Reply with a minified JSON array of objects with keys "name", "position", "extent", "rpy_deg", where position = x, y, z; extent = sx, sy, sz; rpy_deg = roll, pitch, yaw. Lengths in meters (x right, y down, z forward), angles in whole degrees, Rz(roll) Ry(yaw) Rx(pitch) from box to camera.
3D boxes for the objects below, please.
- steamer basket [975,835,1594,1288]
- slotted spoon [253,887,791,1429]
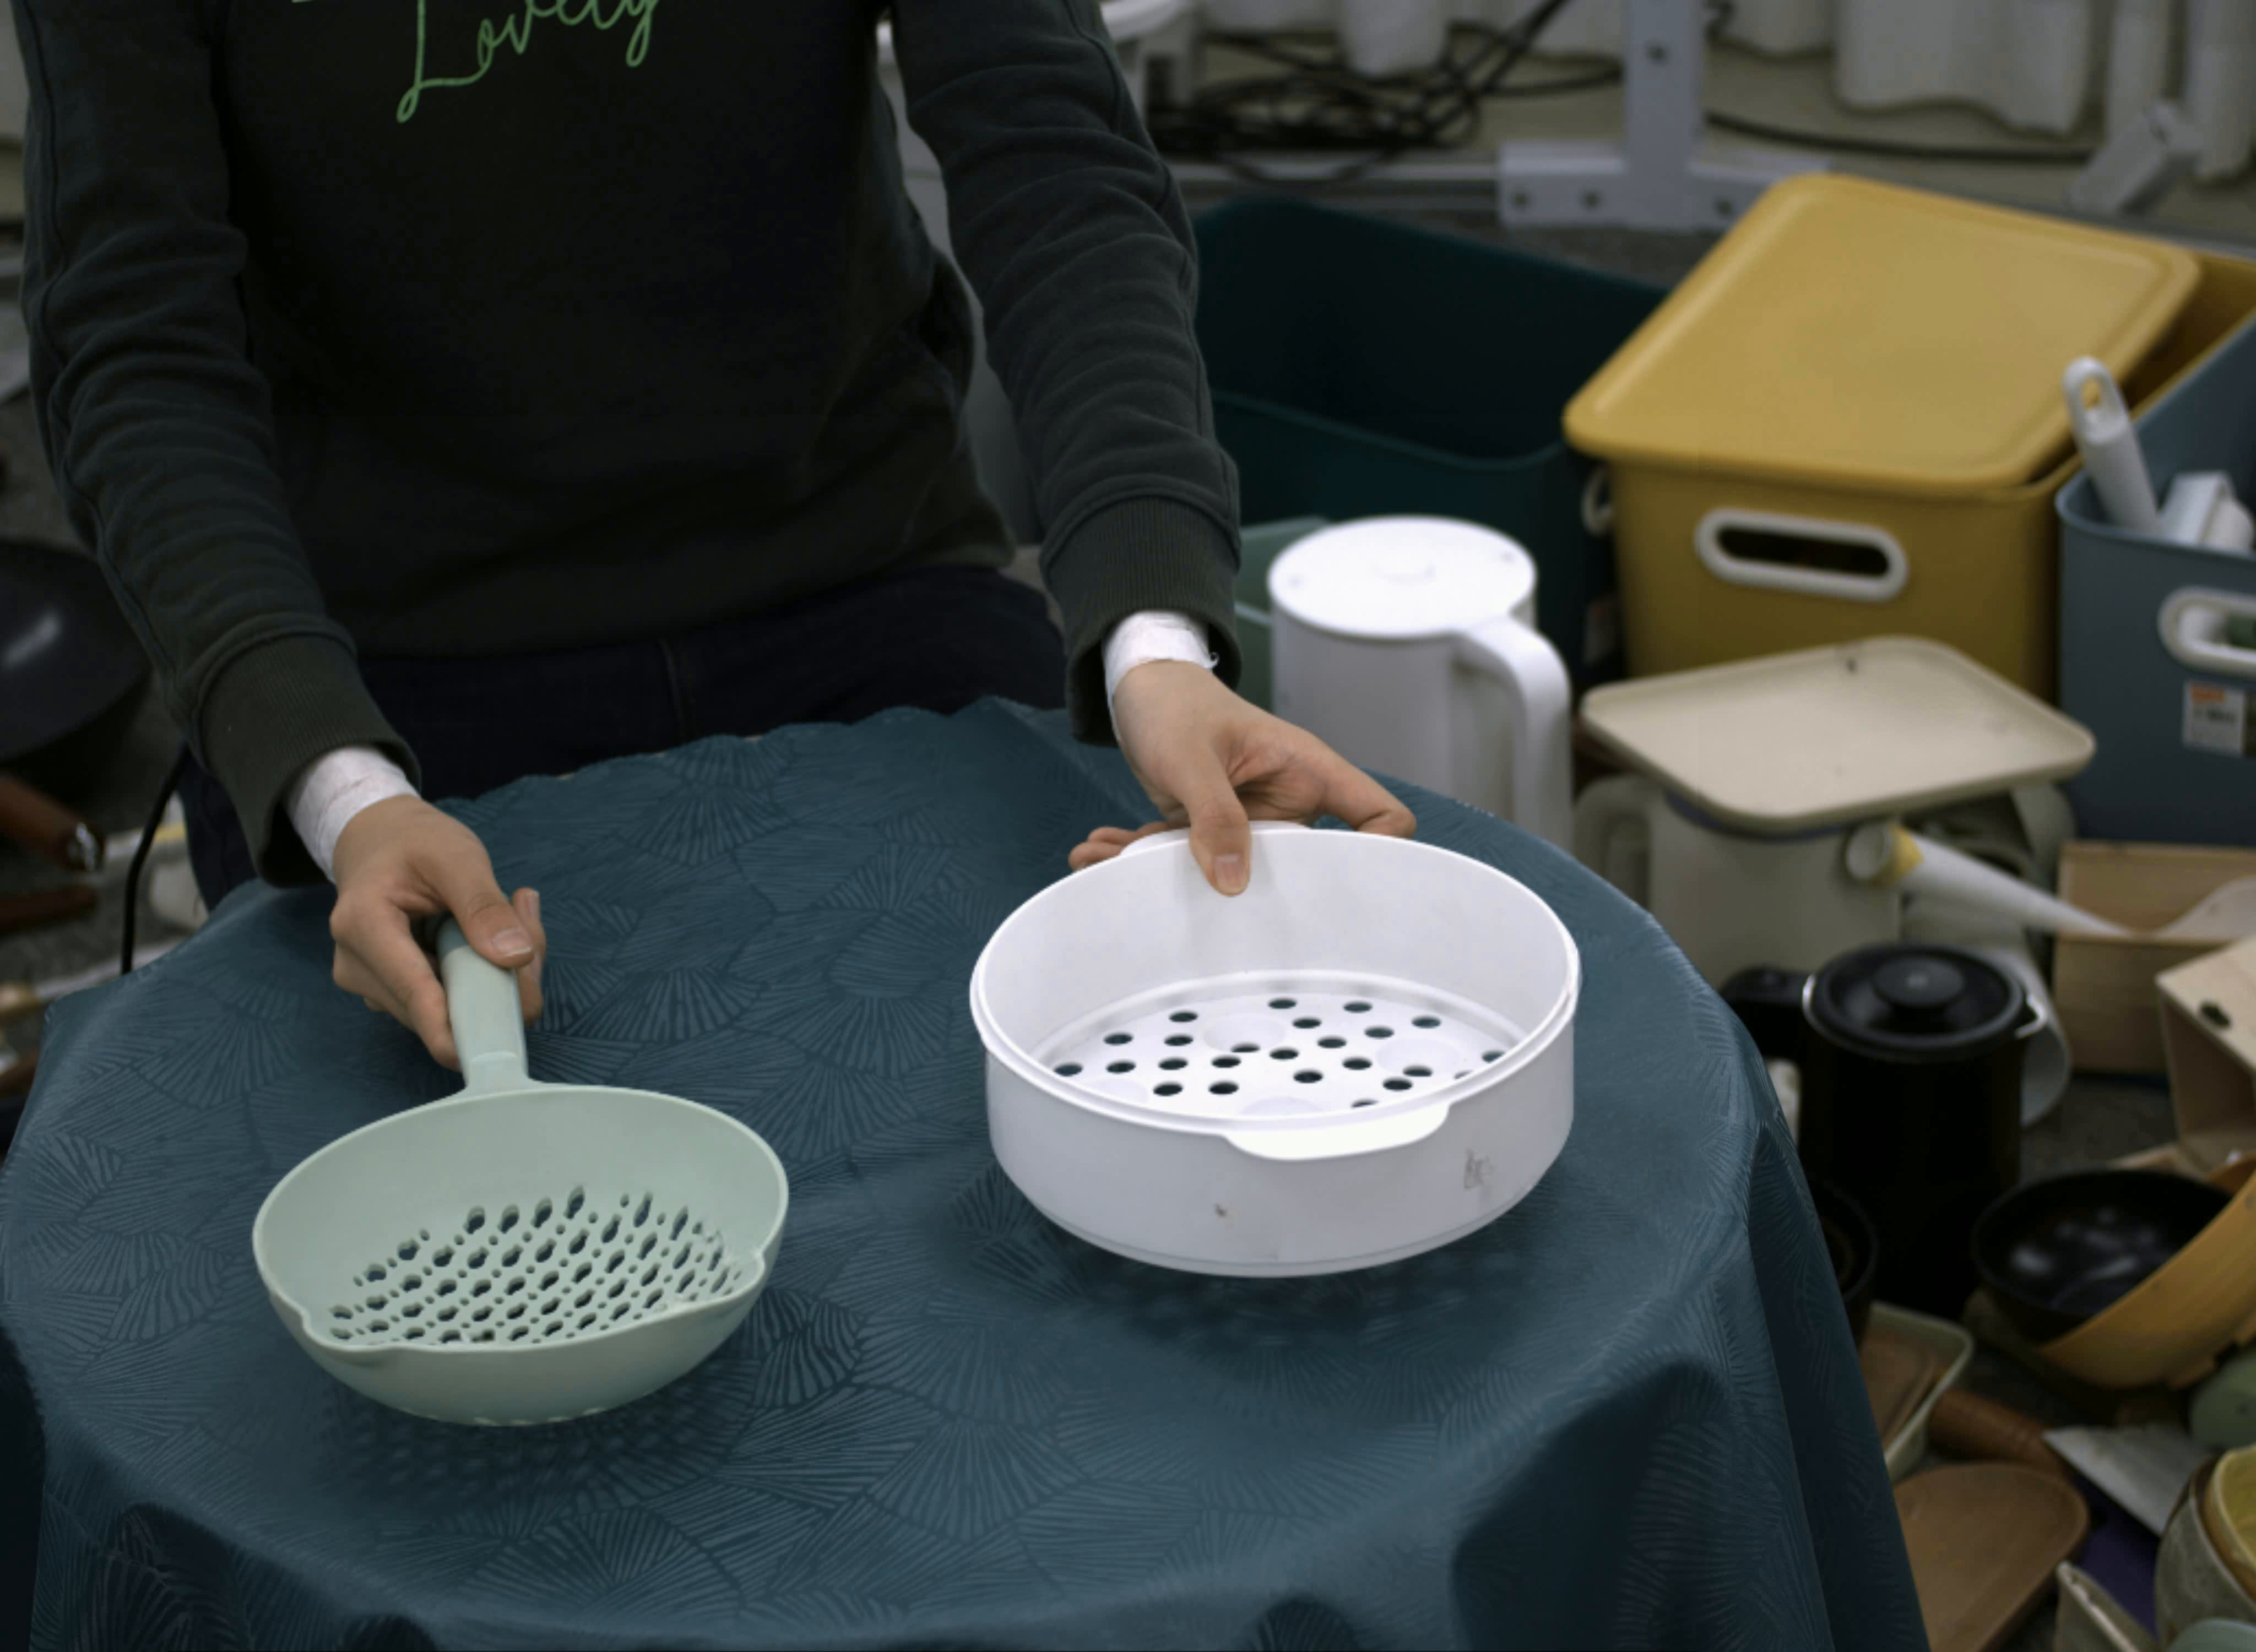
[{"name":"steamer basket","position":[0.052,0.078,1.838],"extent":[0.201,0.068,0.233],"rpy_deg":[-7,26,-10]},{"name":"slotted spoon","position":[-0.205,0.093,1.851],"extent":[0.169,0.074,0.364],"rpy_deg":[-6,32,-8]}]
